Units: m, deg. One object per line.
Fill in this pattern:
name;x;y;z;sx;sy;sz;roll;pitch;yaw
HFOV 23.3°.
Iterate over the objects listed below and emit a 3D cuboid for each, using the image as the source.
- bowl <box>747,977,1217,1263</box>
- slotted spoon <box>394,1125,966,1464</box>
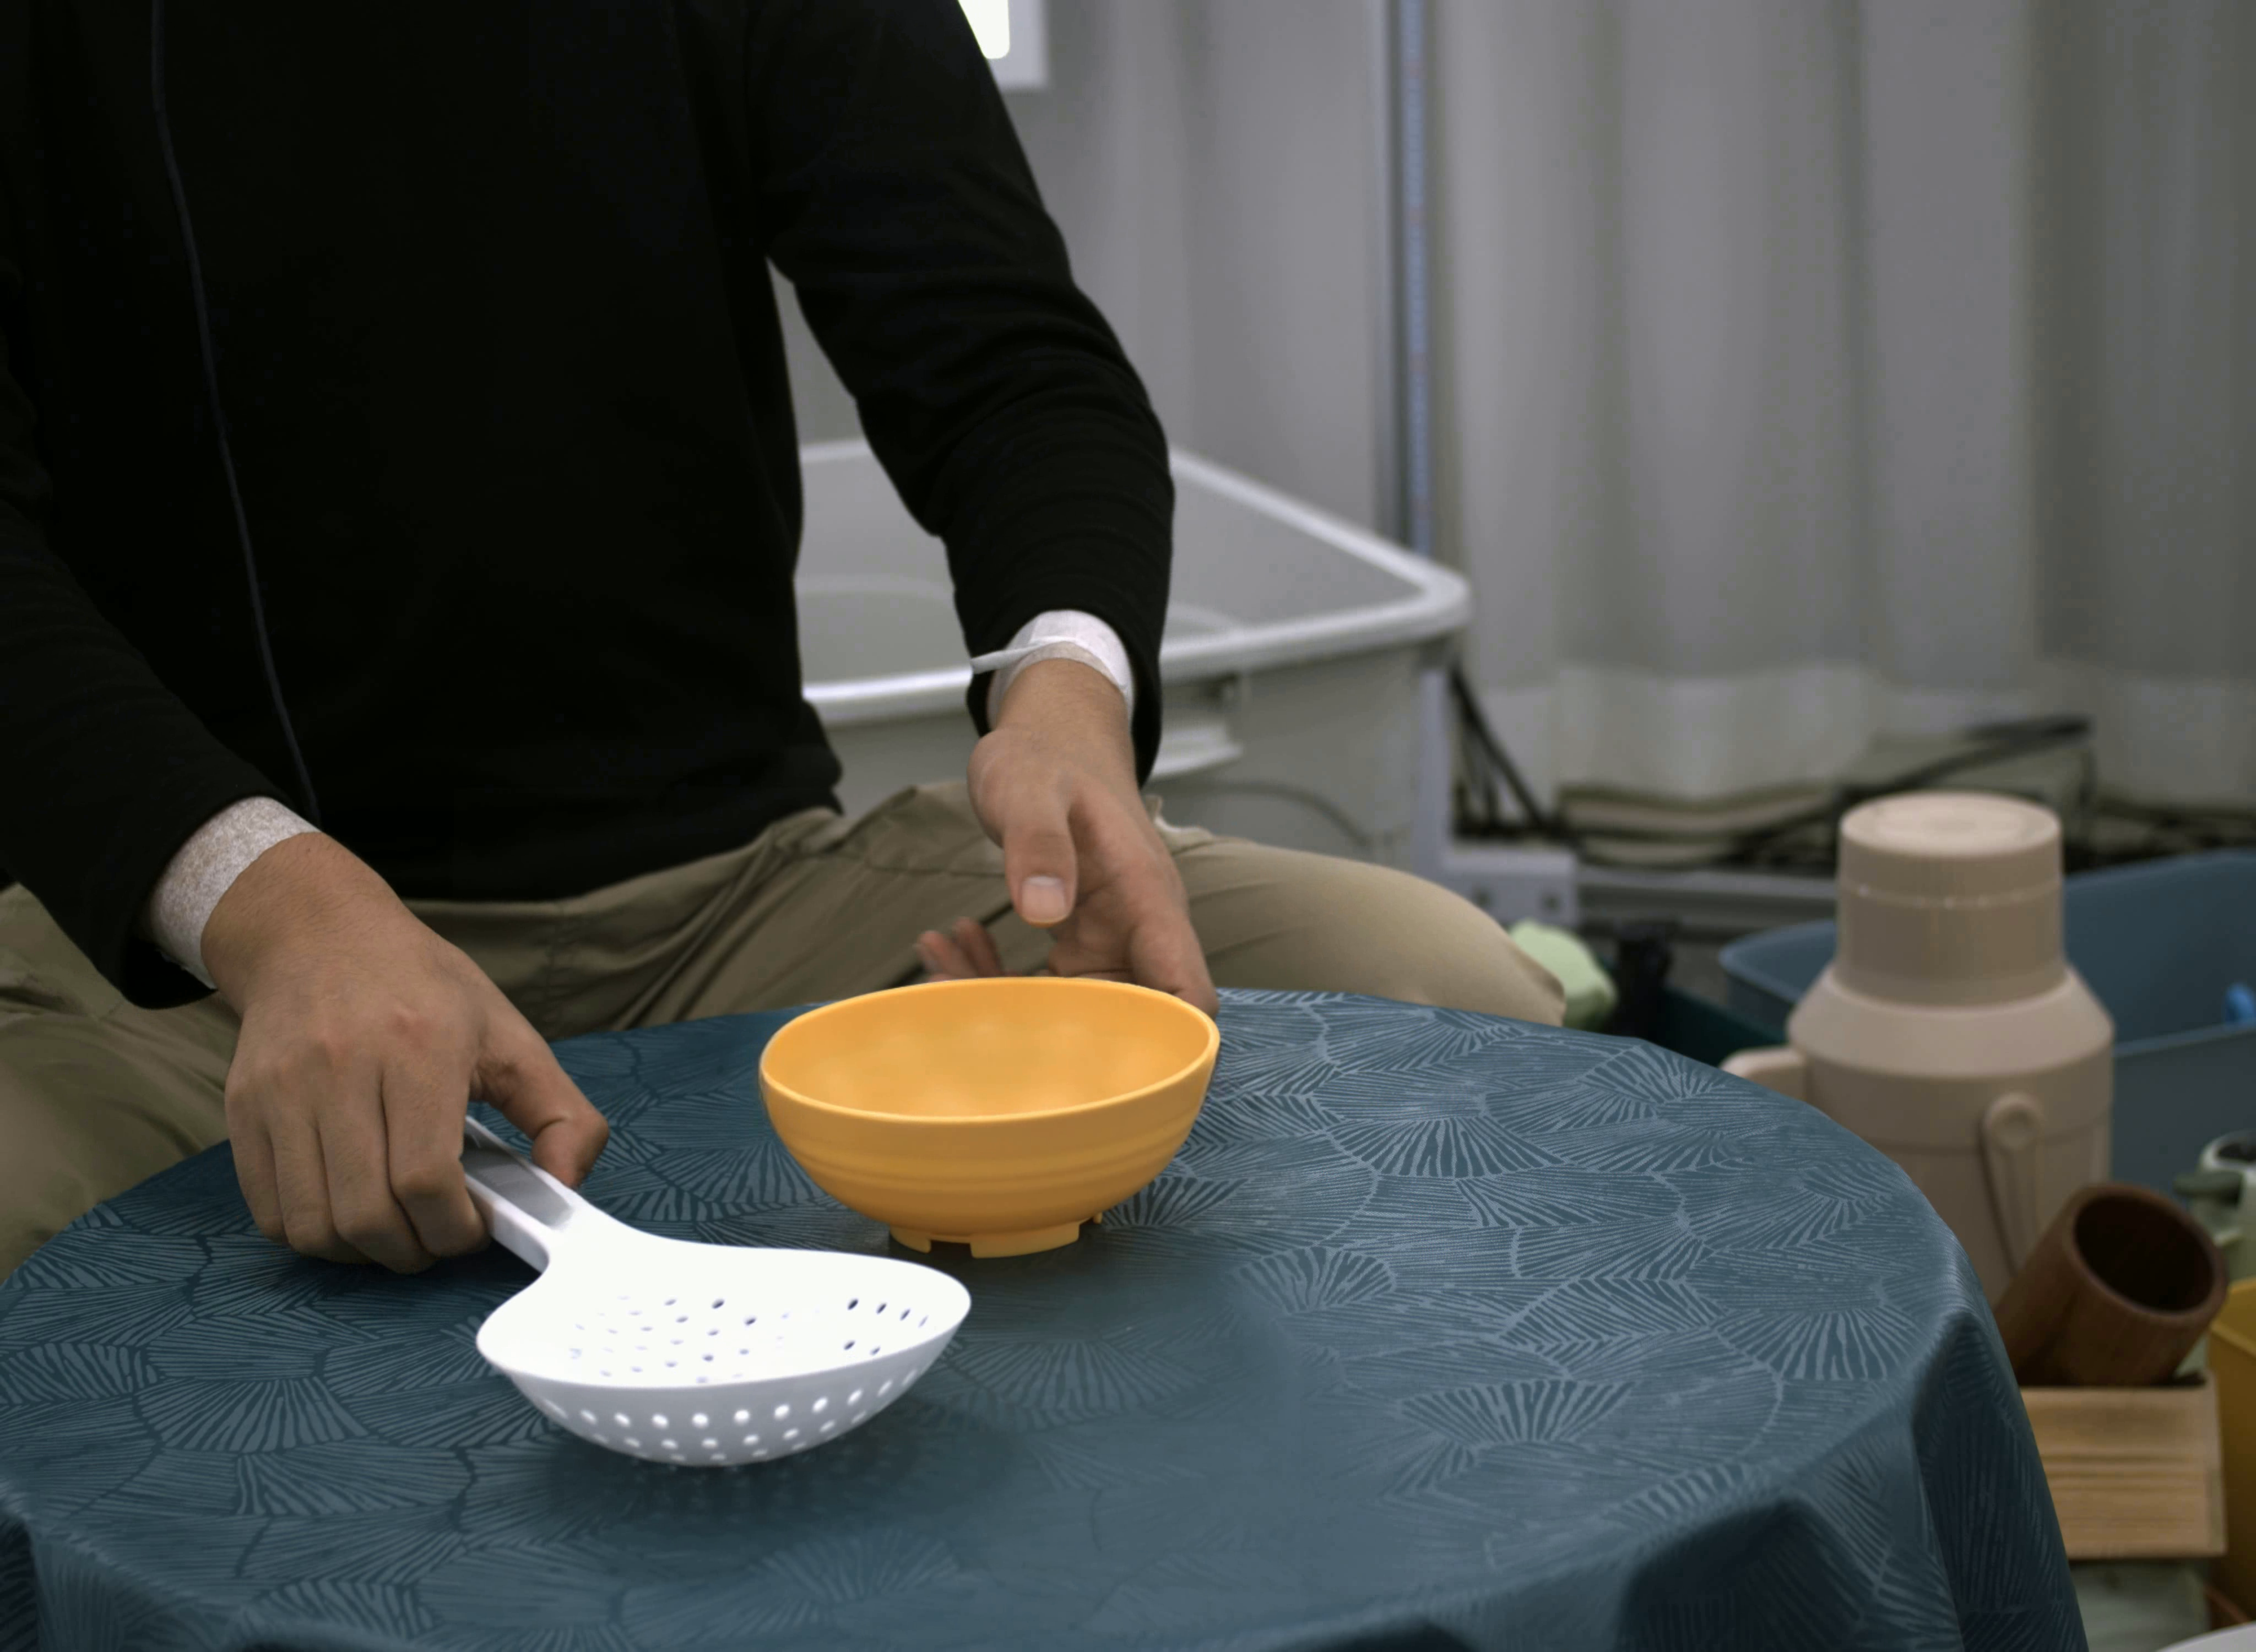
bowl;-0.044;0.096;1.685;0.145;0.060;0.146;-1;15;0
slotted spoon;-0.155;0.127;1.603;0.135;0.045;0.352;-8;15;-23
